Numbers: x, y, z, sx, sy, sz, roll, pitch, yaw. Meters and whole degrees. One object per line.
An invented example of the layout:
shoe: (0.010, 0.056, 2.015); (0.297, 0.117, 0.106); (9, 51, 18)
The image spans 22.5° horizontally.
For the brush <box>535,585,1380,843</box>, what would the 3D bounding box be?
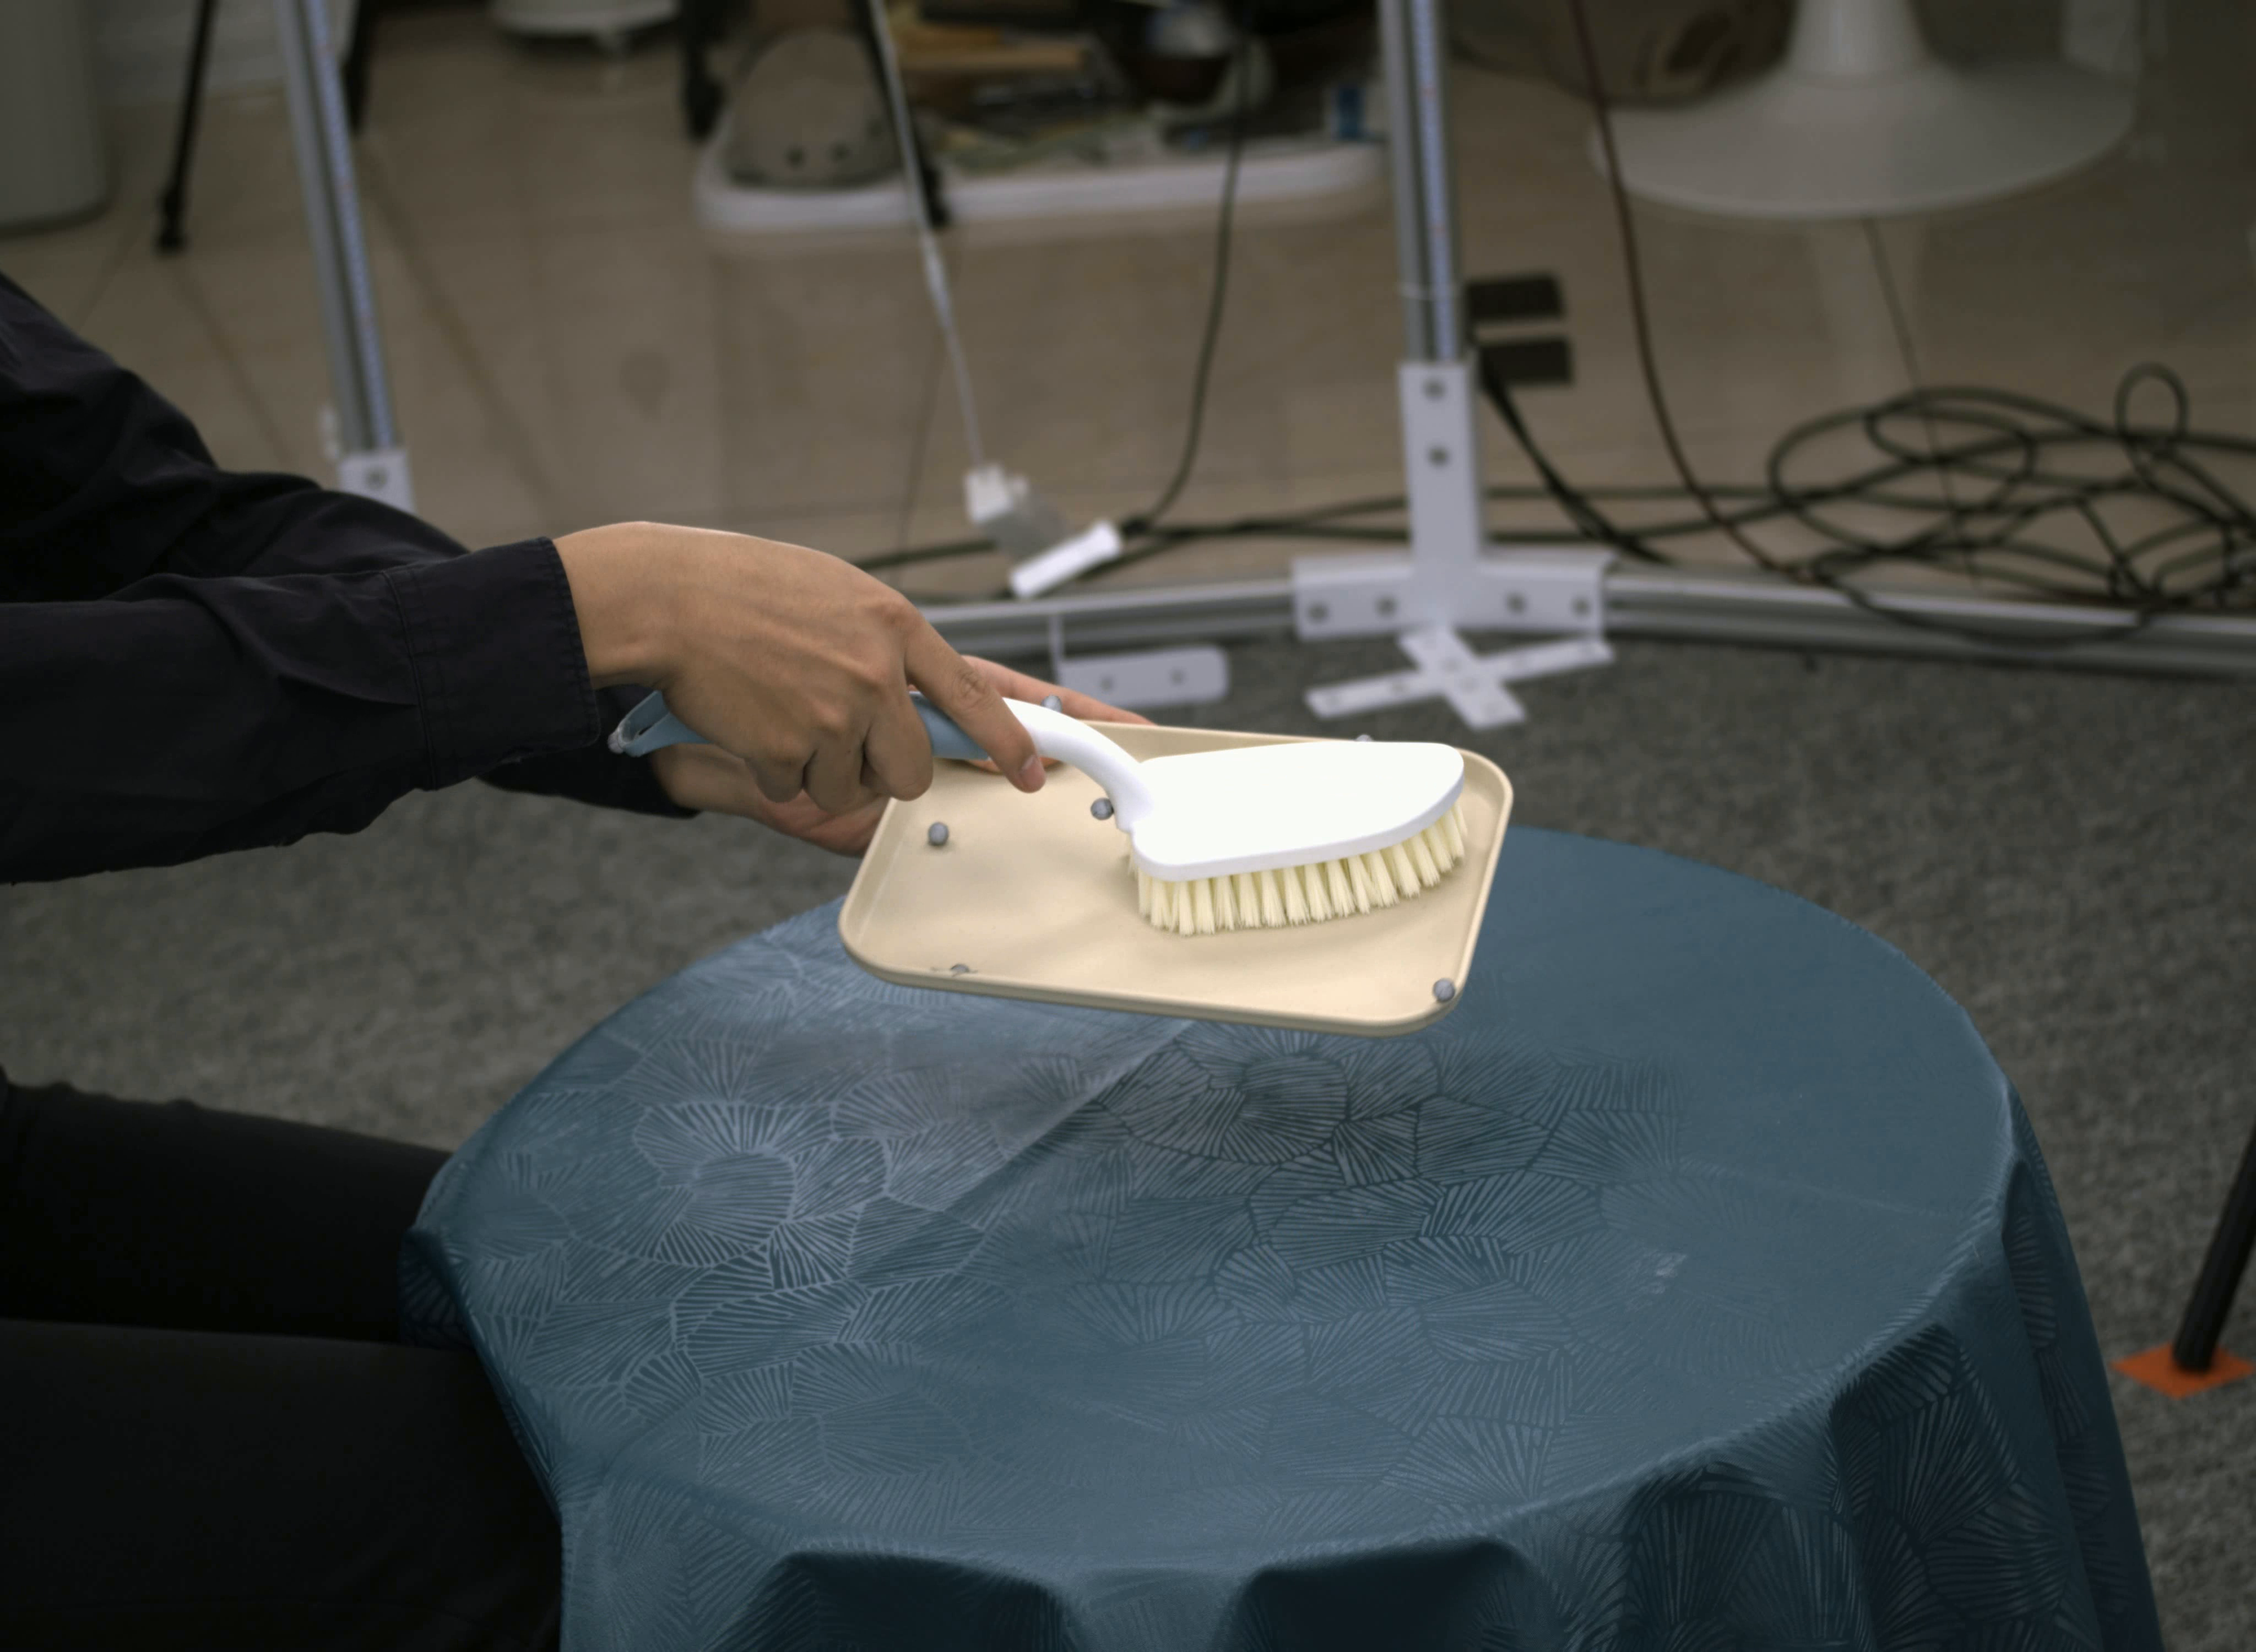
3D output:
brush: (-0.064, -0.039, 2.142); (0.325, 0.085, 0.083); (3, 0, -10)

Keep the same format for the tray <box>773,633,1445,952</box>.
tray: (-0.006, -0.013, 2.164); (0.239, 0.018, 0.168); (6, 39, 12)
